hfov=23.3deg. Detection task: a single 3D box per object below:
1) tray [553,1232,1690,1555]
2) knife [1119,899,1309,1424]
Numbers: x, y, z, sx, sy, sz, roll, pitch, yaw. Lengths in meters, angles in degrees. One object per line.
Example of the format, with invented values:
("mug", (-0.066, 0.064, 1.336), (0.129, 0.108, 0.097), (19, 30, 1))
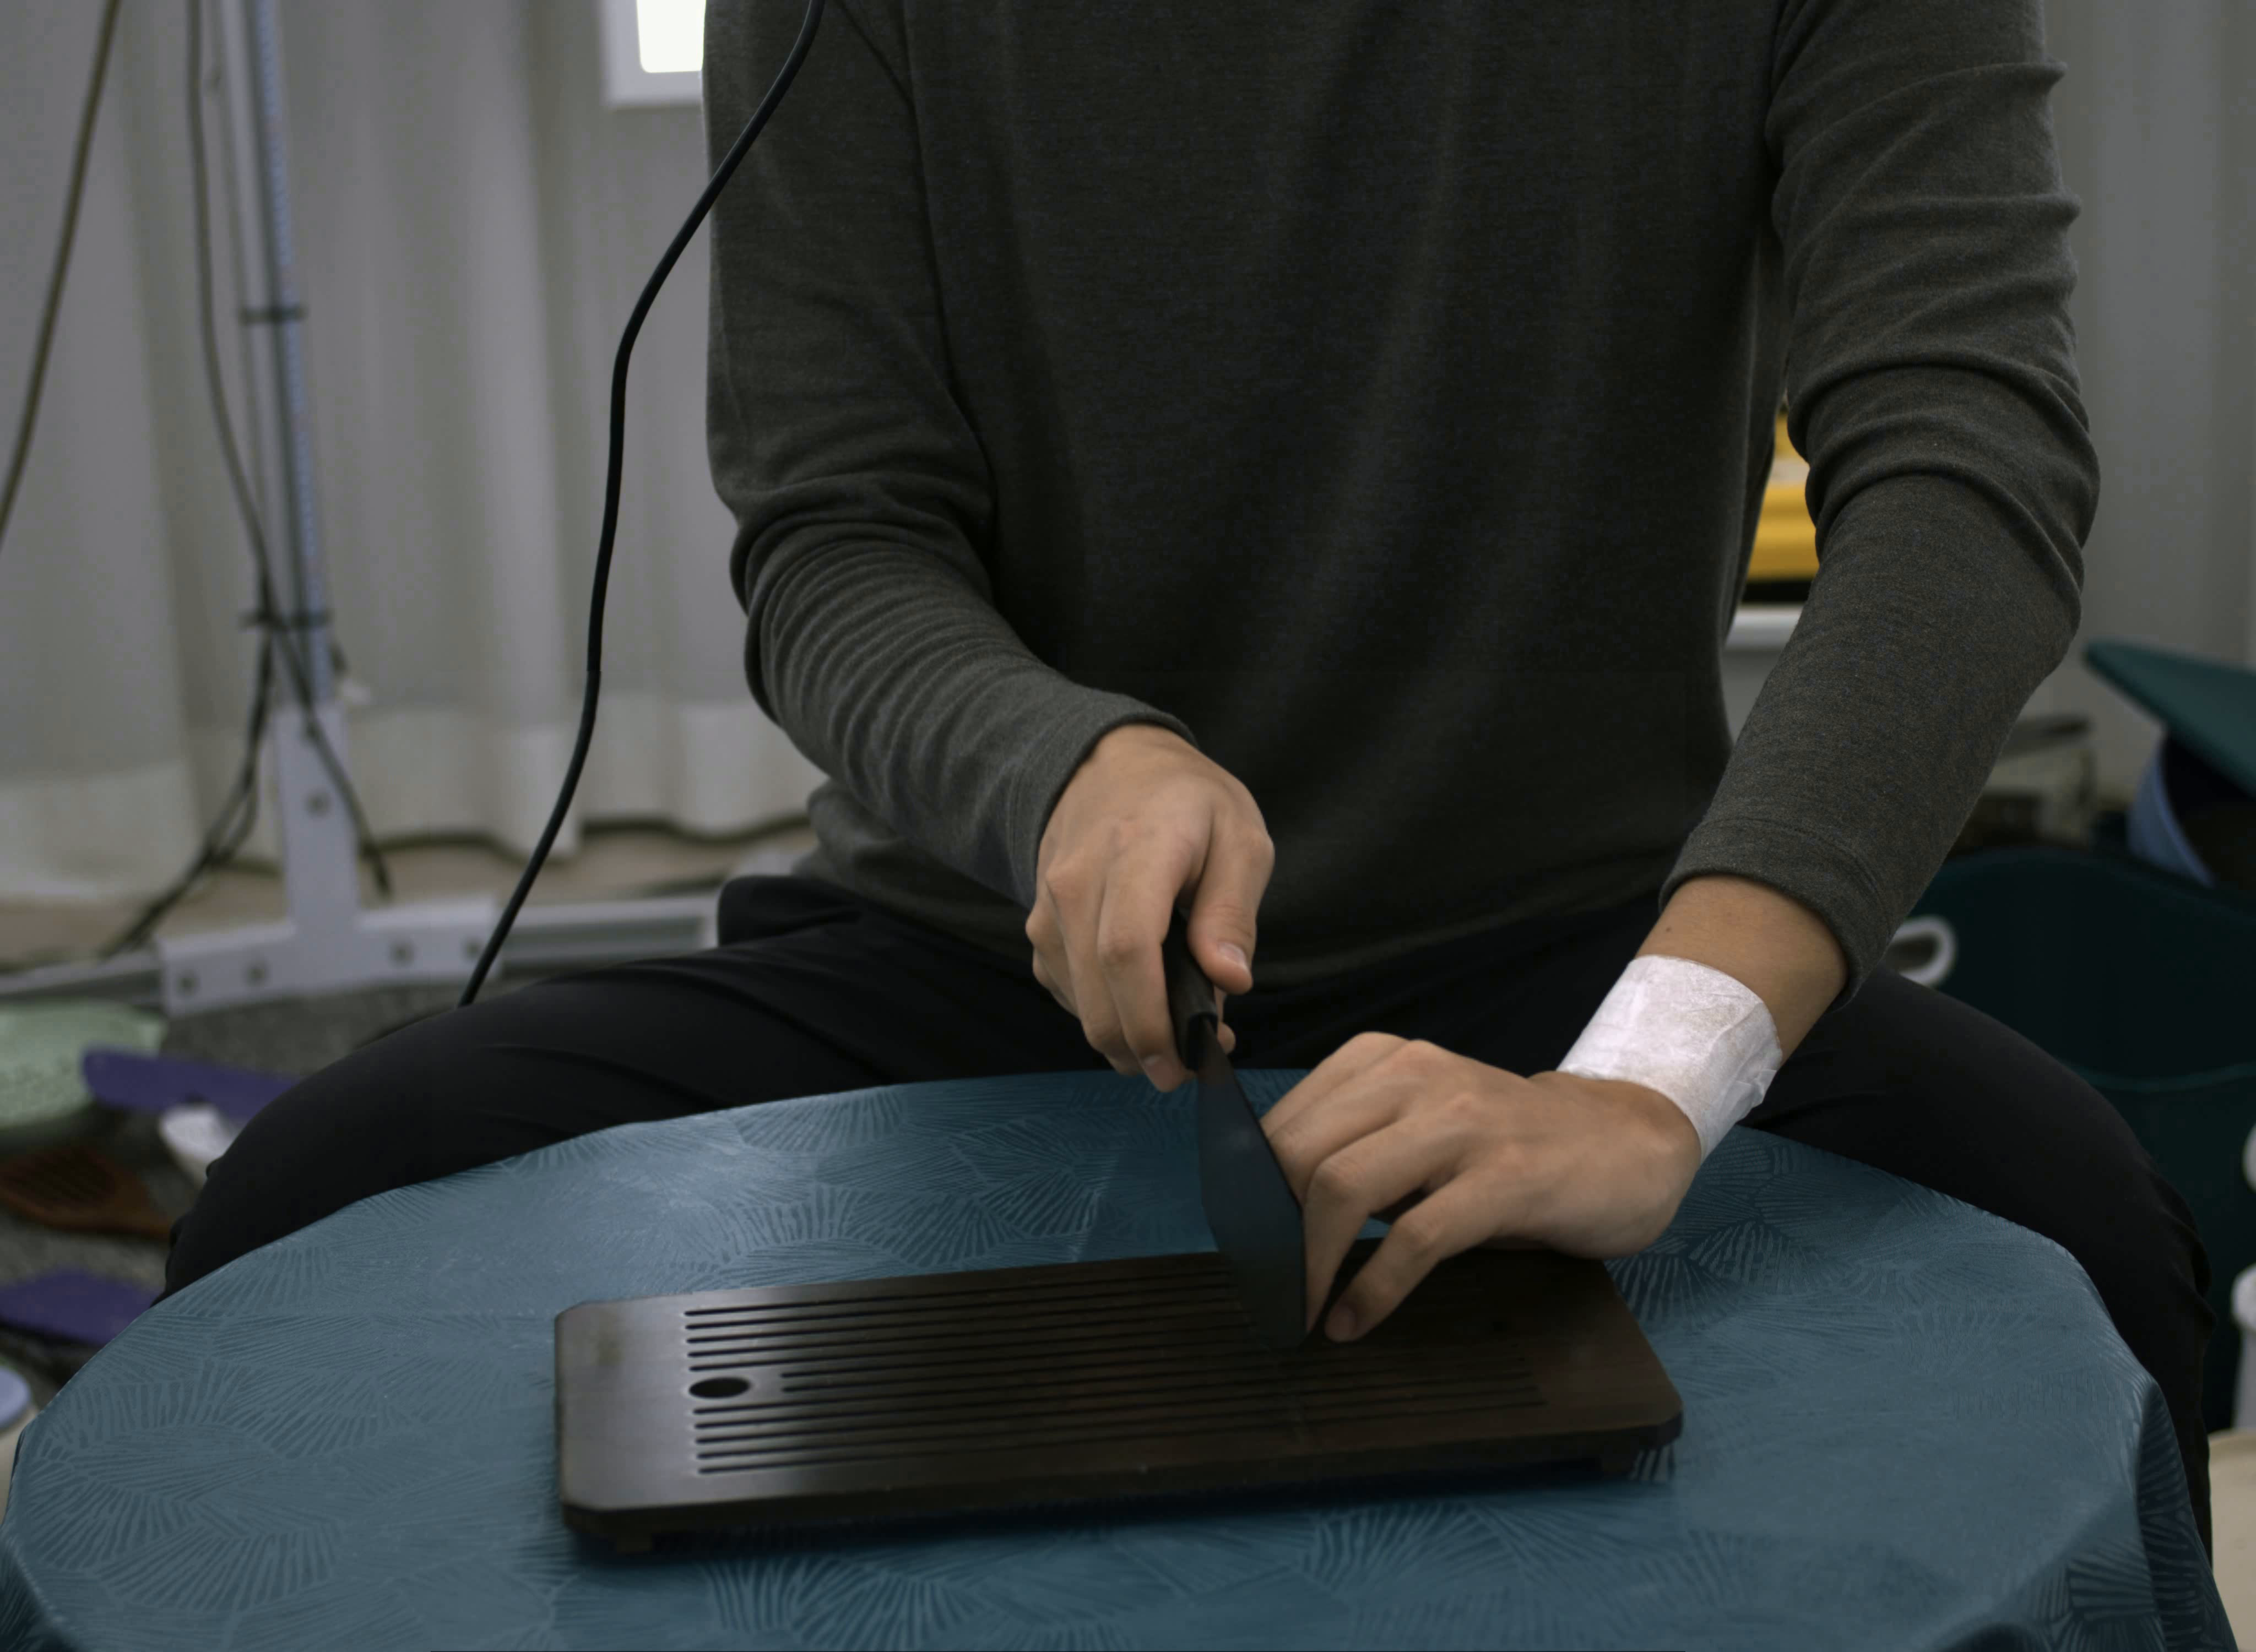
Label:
("tray", (-0.007, 0.157, 1.523), (0.305, 0.018, 0.171), (-4, 14, -5))
("knife", (0.026, 0.088, 1.589), (0.021, 0.080, 0.305), (-1, 20, -8))
